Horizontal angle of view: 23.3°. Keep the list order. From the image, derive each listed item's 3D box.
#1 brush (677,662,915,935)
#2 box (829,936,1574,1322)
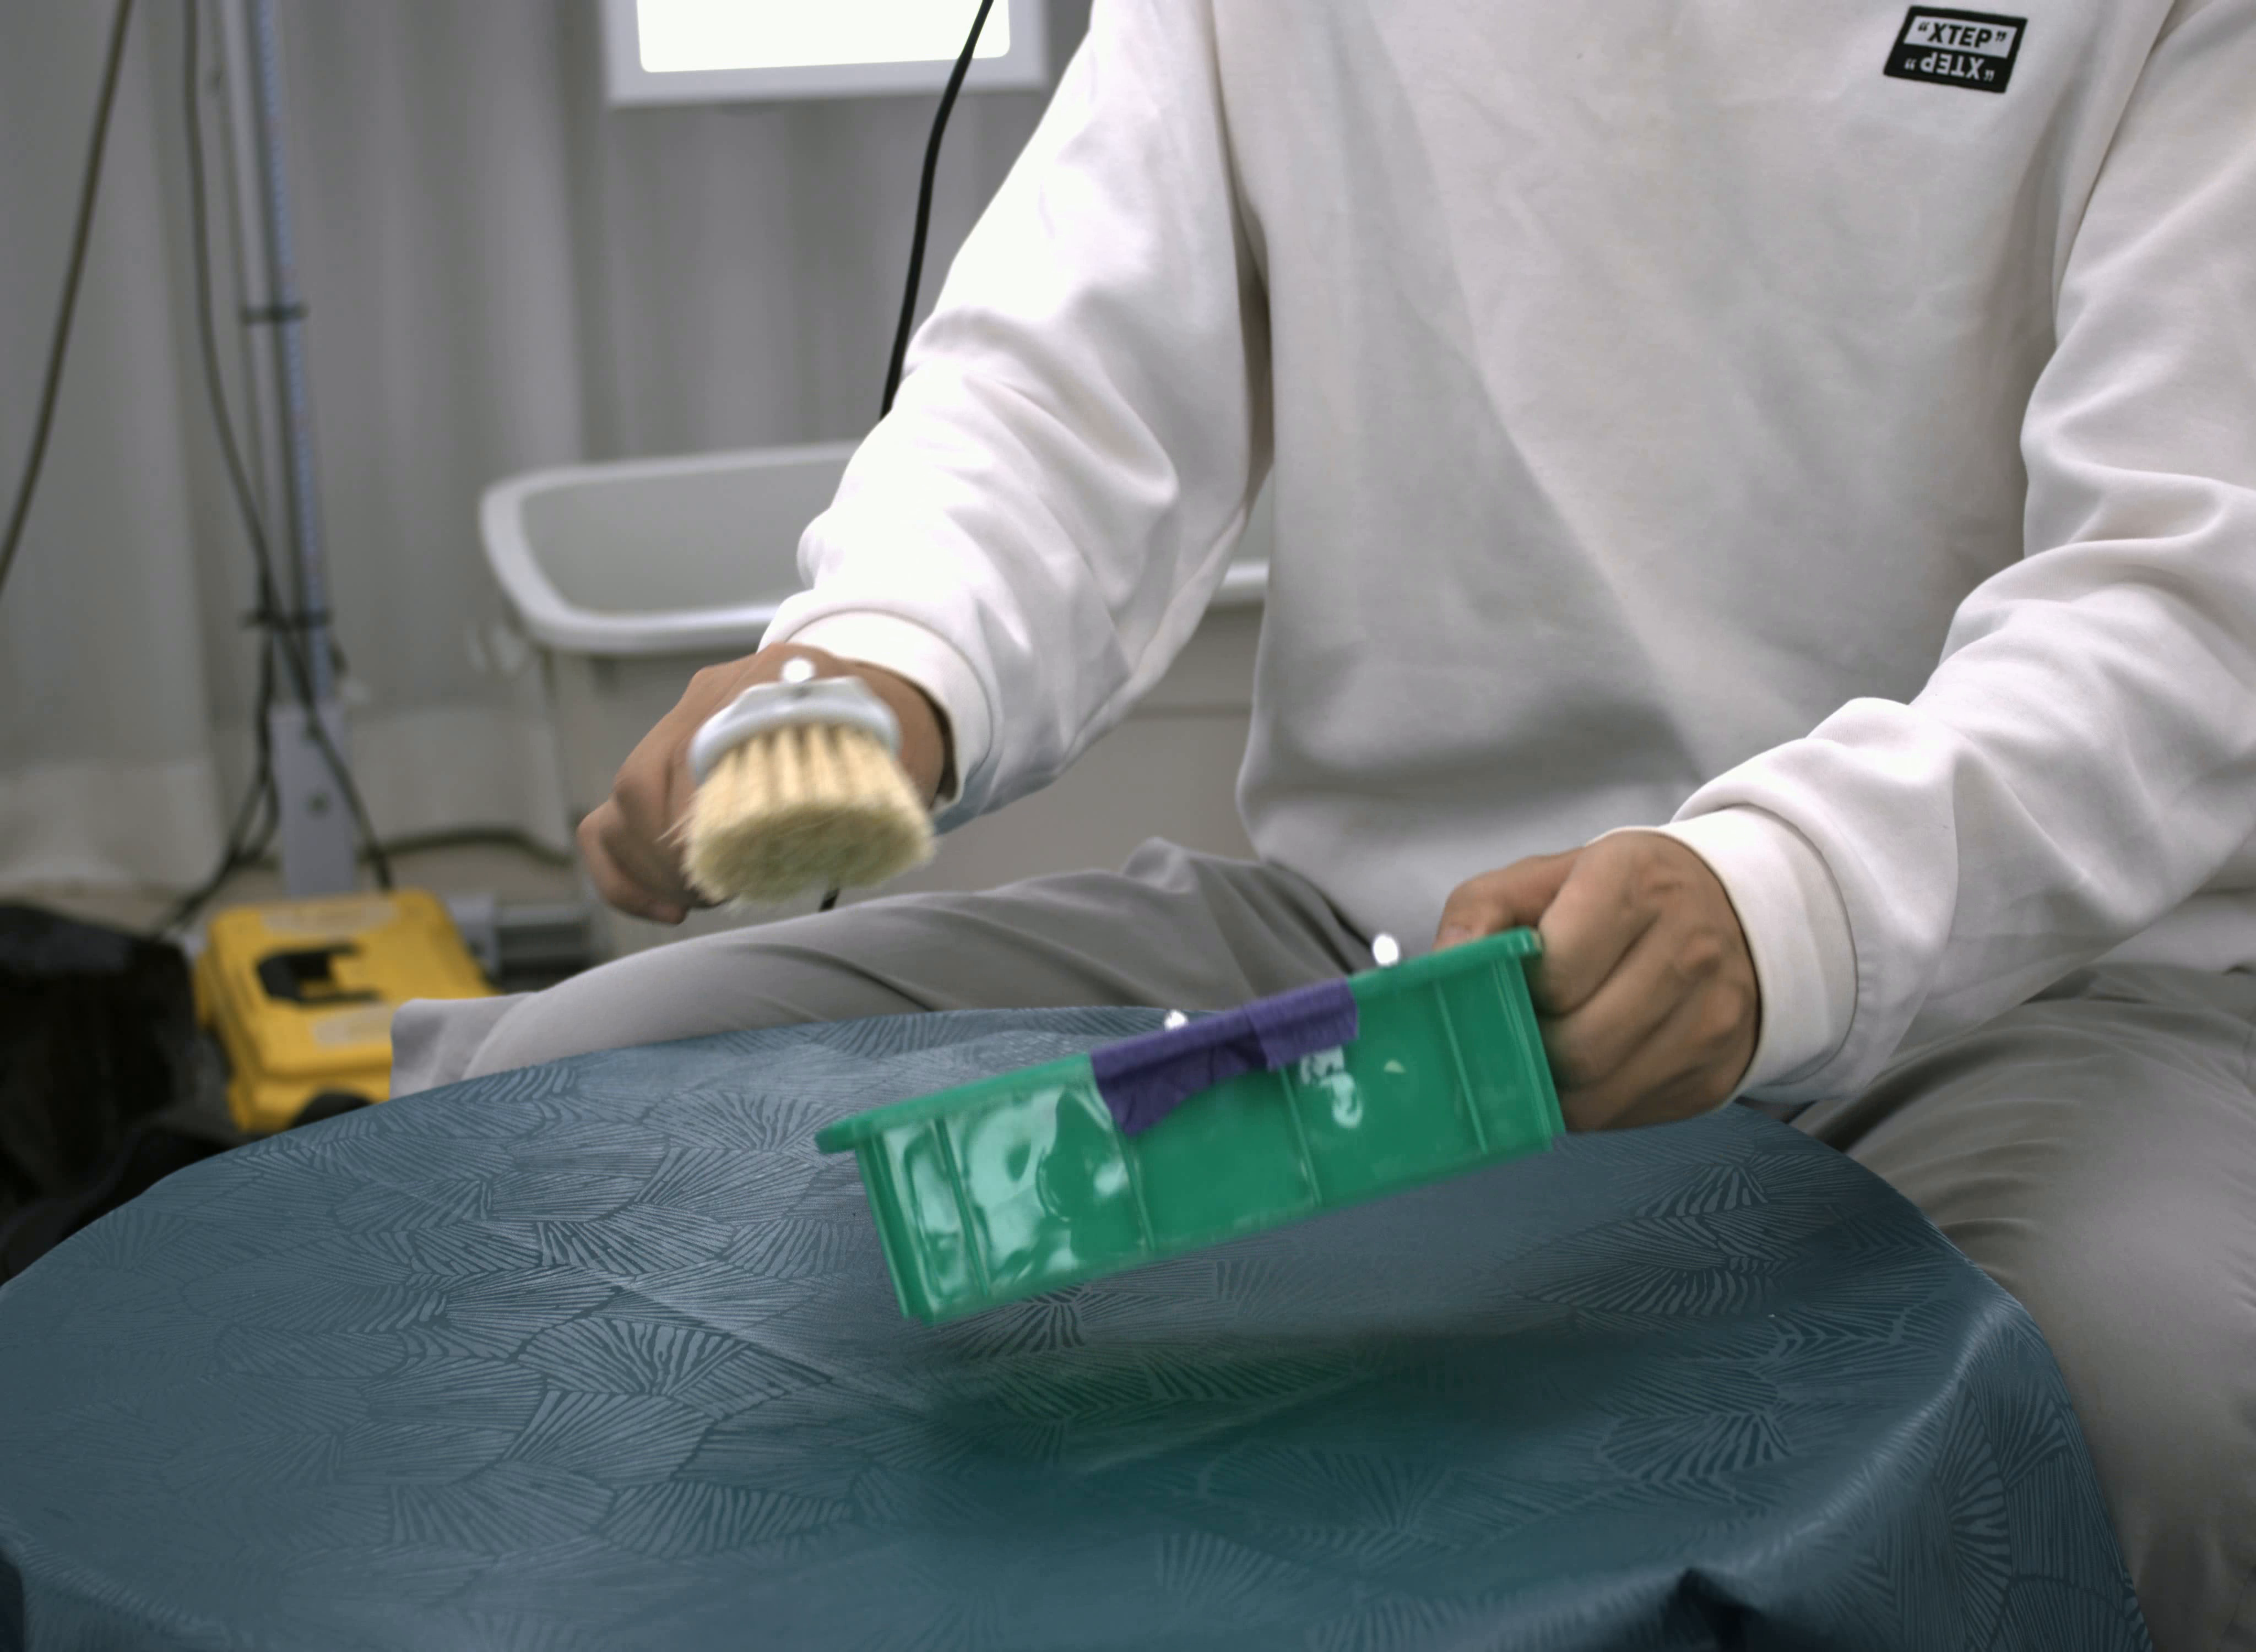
[{"bbox_3d":[-0.107,0.017,1.648,0.068,0.057,0.265,8,-18,-7],"label":"brush"},{"bbox_3d":[0.025,0.088,1.542,0.210,0.065,0.138,-14,-3,-3],"label":"box"}]
